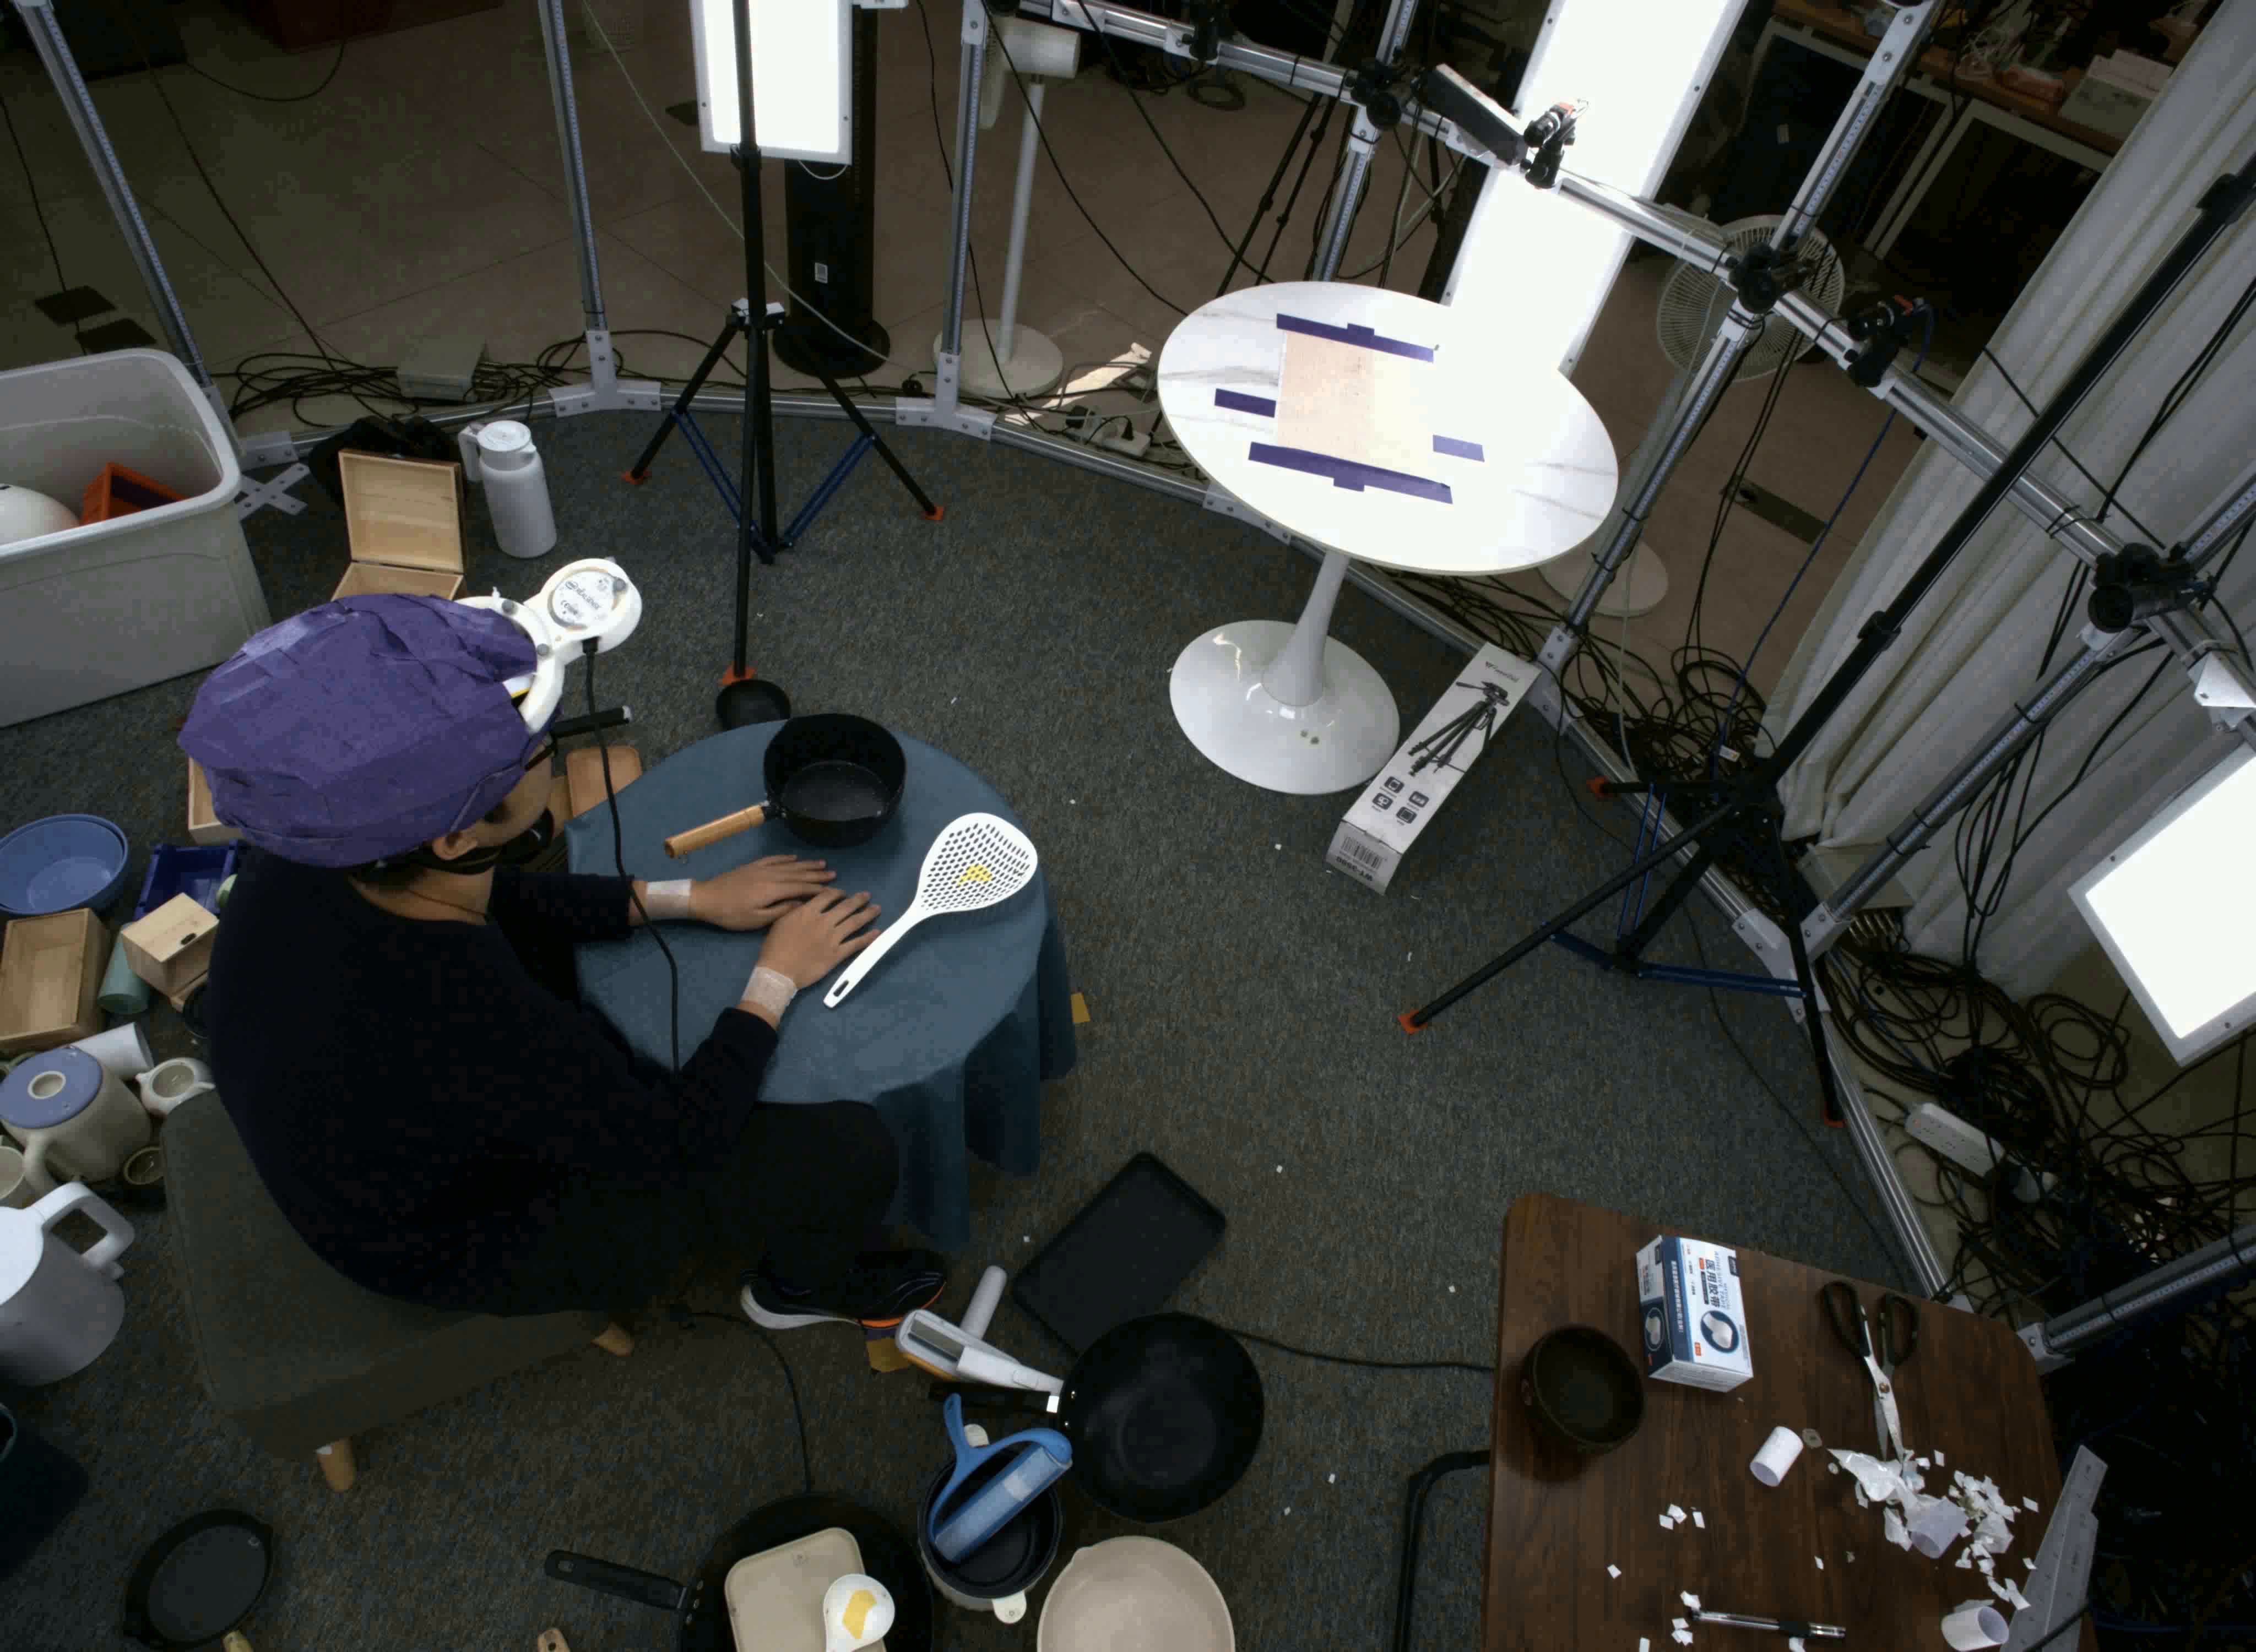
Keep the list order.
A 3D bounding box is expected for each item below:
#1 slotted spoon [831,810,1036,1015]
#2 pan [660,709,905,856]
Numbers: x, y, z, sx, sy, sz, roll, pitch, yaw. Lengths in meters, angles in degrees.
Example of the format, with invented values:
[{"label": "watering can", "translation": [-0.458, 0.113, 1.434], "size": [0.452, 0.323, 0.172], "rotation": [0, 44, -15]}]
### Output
[{"label": "slotted spoon", "translation": [-0.256, 0.108, 1.650], "size": [0.134, 0.051, 0.348], "rotation": [37, 52, 12]}, {"label": "pan", "translation": [-0.441, -0.025, 1.658], "size": [0.203, 0.110, 0.344], "rotation": [43, 54, 17]}]
